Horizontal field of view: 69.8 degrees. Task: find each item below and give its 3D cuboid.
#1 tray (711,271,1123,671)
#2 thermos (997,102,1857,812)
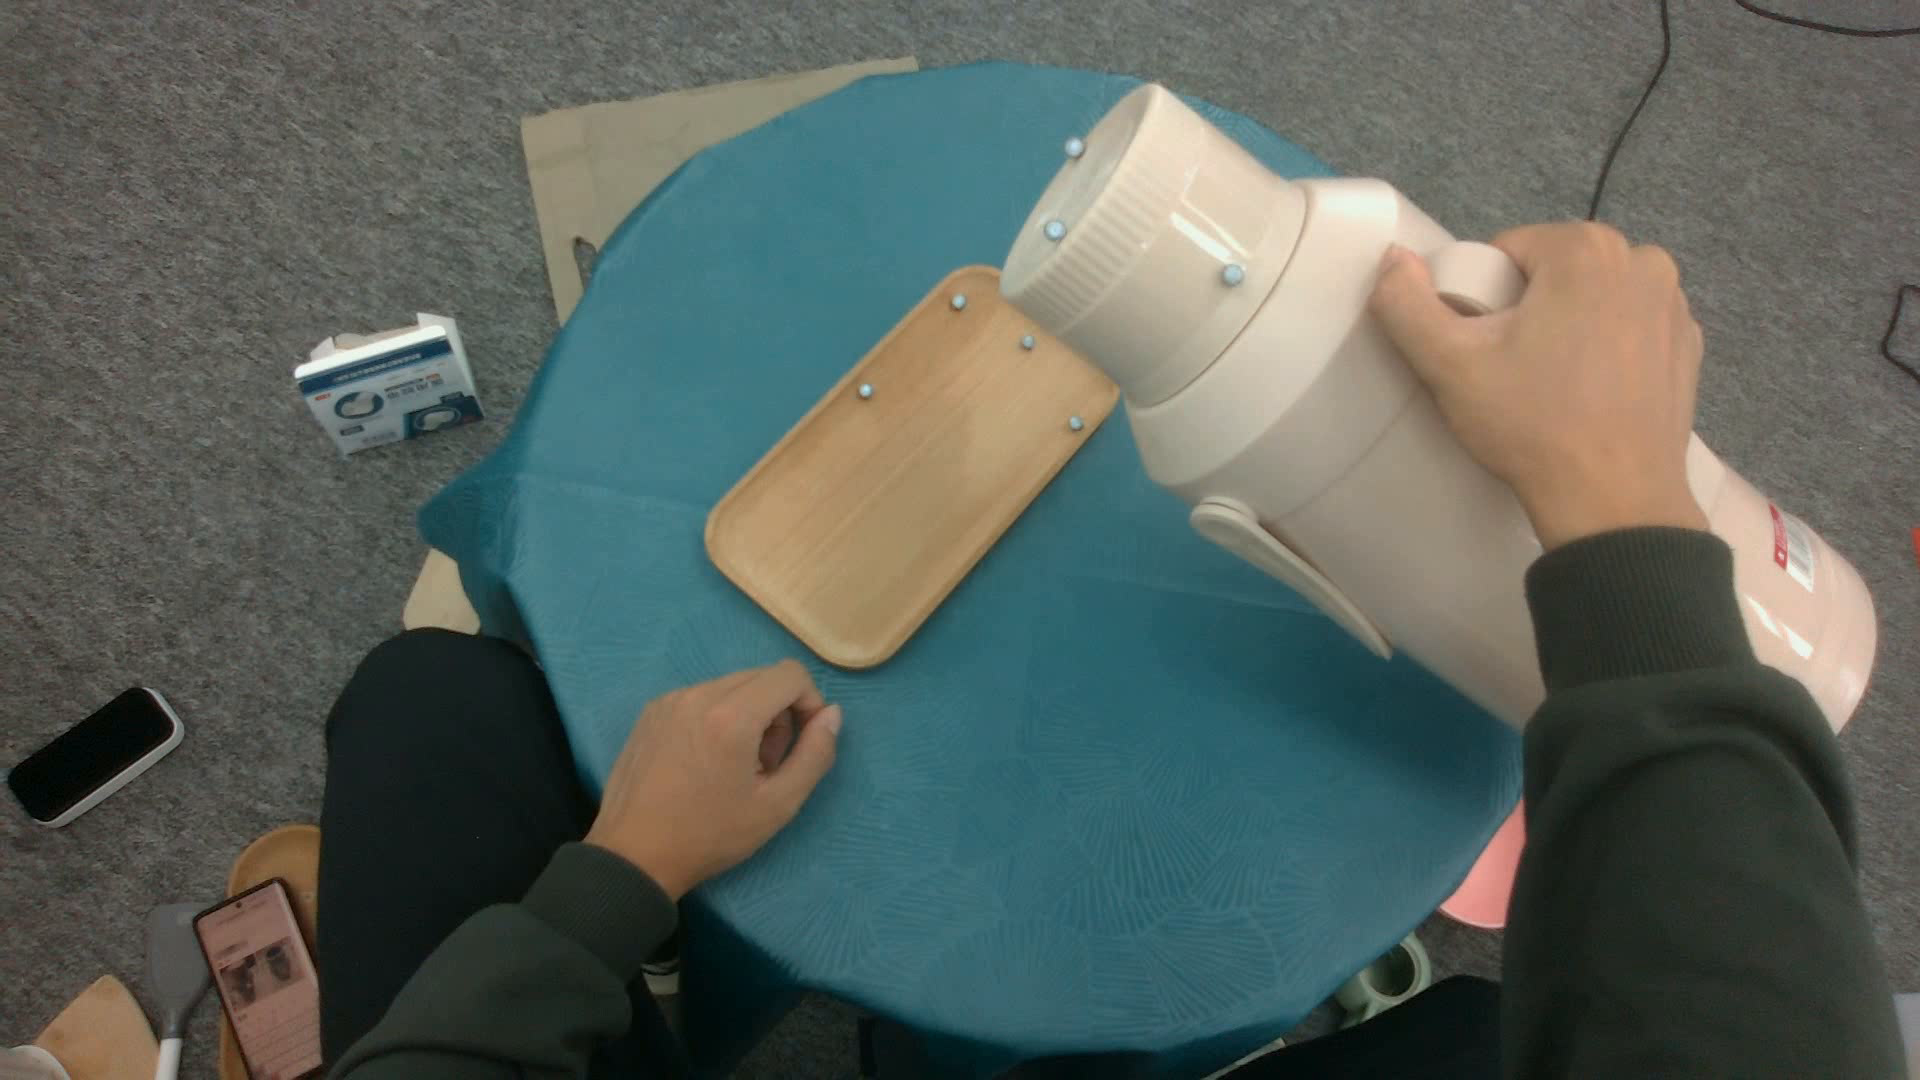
[{"bbox_3d":[-0.020,-0.044,0.788,0.130,0.023,0.251,39,70,11],"label":"tray"},{"bbox_3d":[0.214,-0.038,0.621,0.406,0.206,0.176,33,71,-15],"label":"thermos"}]
